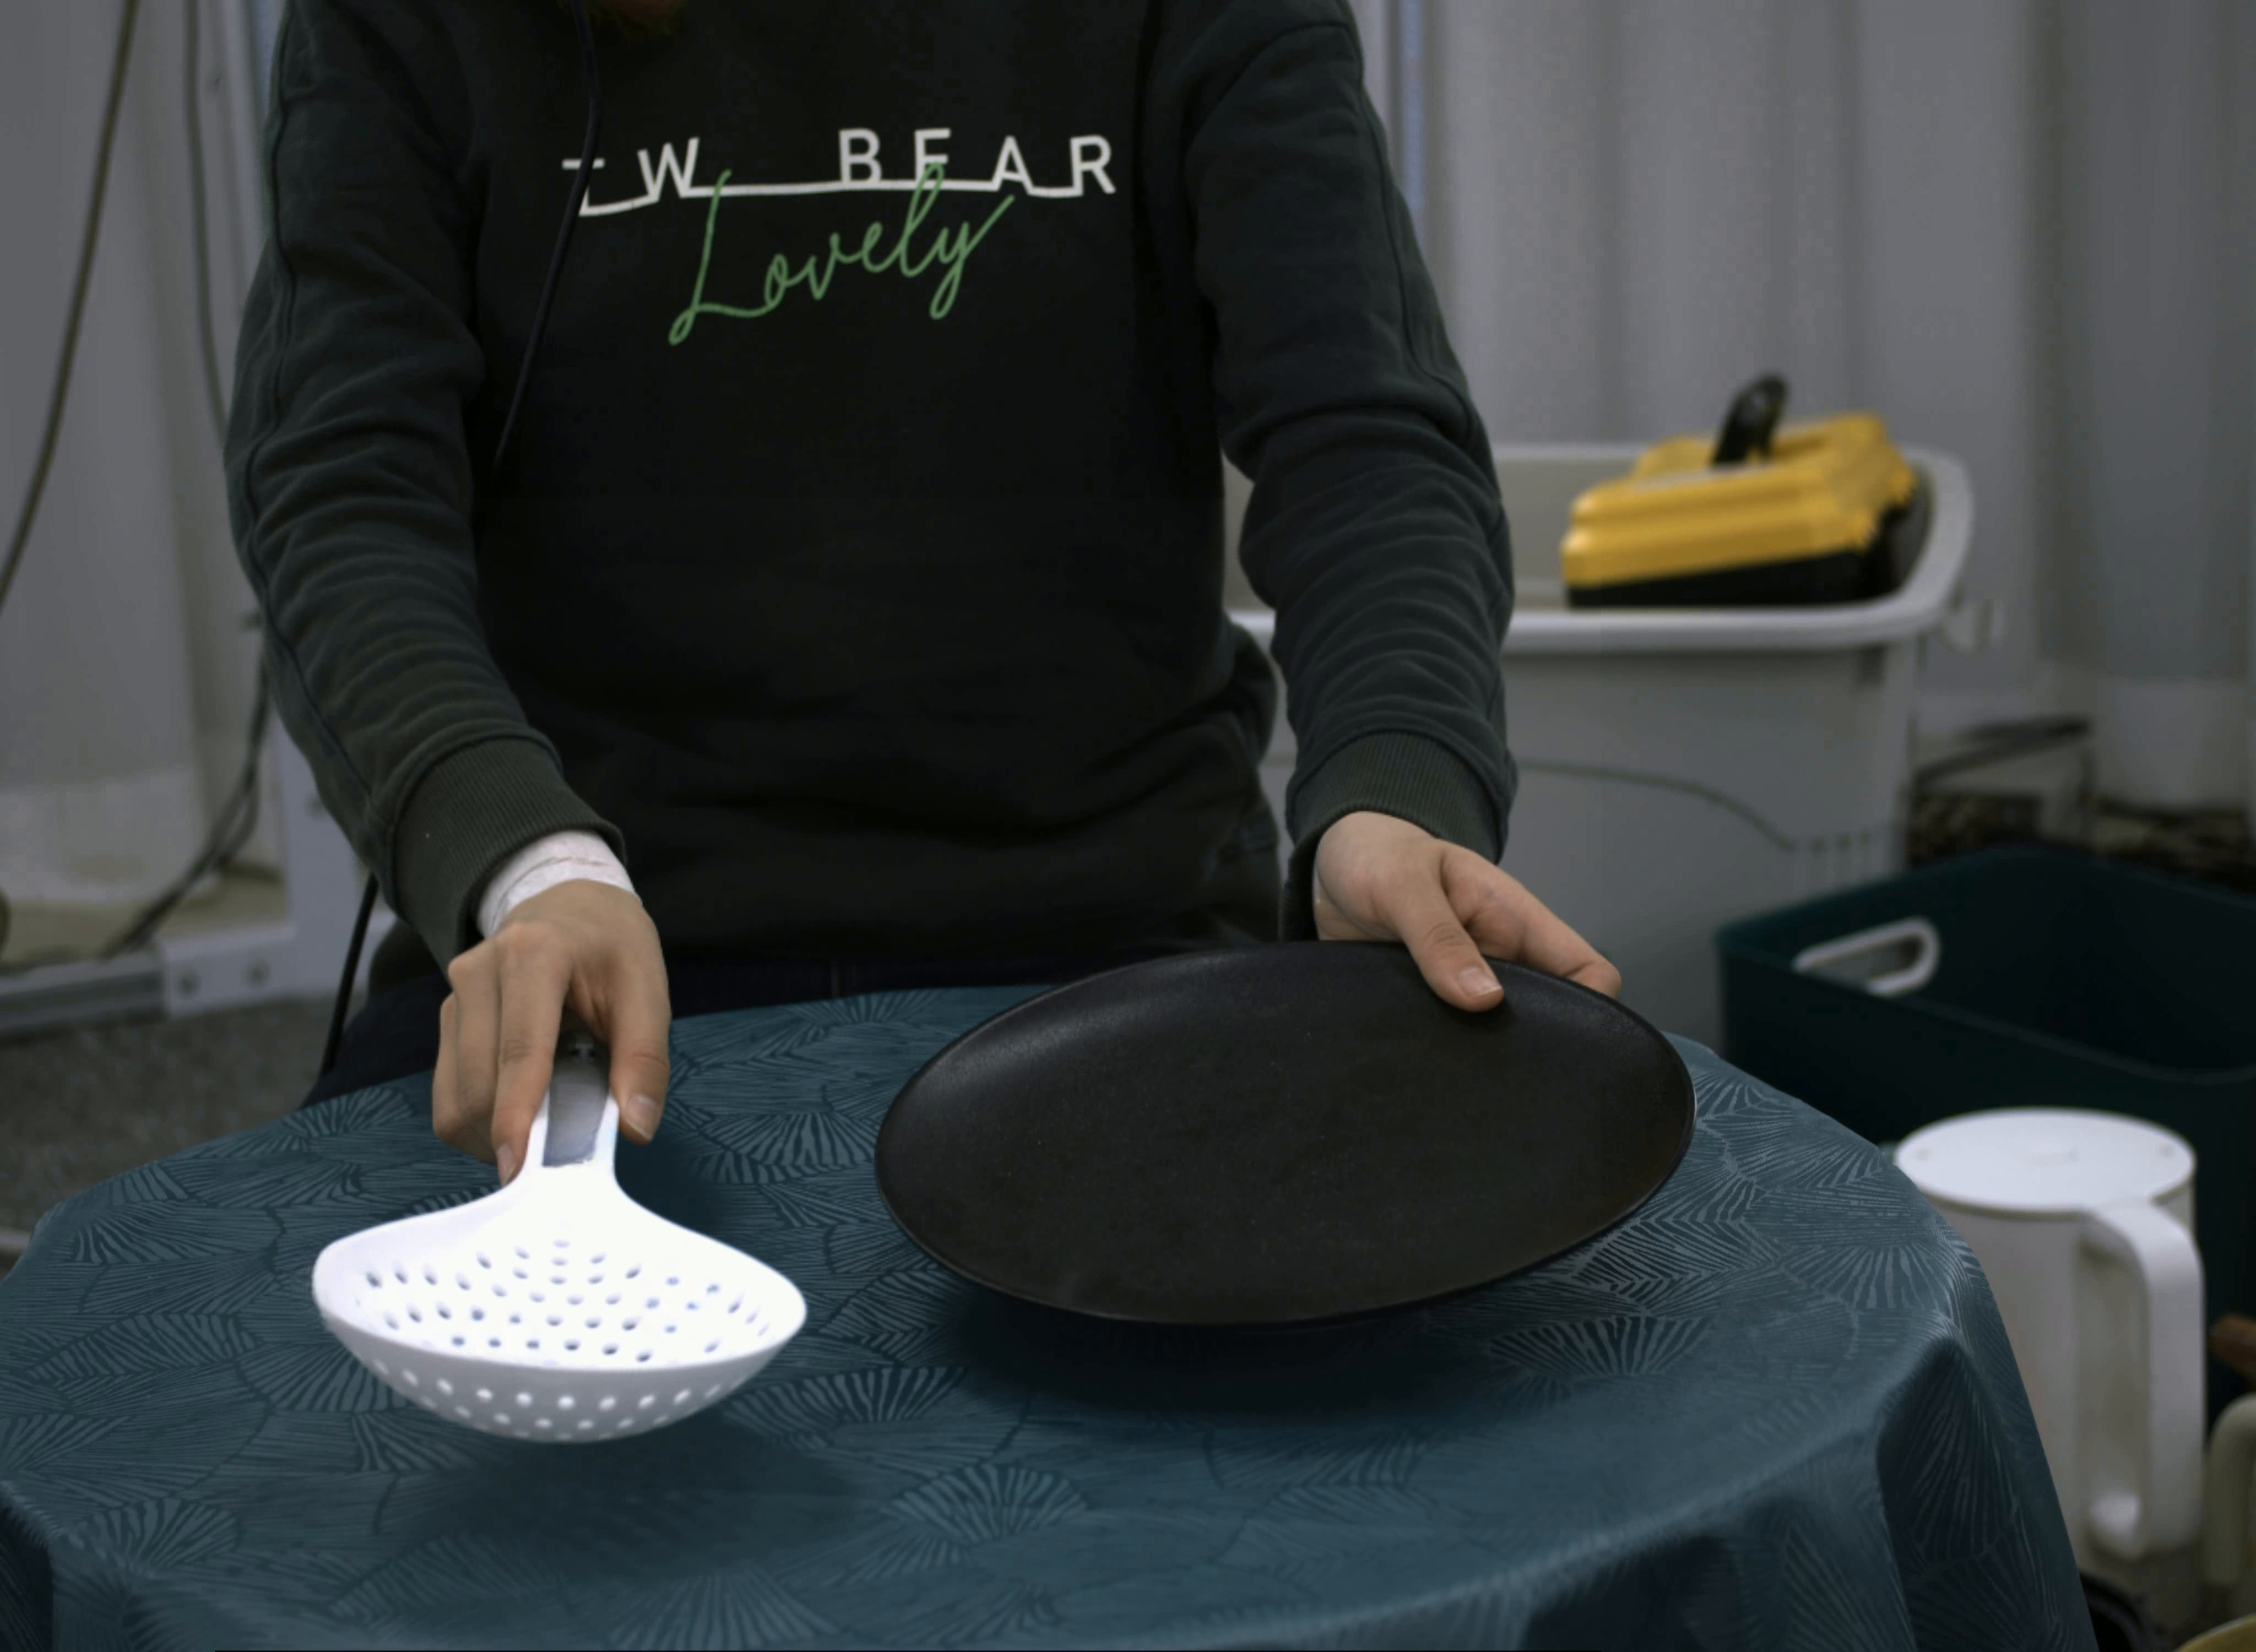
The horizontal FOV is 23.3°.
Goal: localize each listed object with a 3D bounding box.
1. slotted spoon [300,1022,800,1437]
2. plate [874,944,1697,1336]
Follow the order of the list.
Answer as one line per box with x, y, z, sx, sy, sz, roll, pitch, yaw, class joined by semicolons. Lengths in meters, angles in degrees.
-0.163;0.108;1.588;0.135;0.045;0.352;6;16;-5;slotted spoon
0.047;0.096;1.614;0.243;0.023;0.247;-5;24;2;plate
